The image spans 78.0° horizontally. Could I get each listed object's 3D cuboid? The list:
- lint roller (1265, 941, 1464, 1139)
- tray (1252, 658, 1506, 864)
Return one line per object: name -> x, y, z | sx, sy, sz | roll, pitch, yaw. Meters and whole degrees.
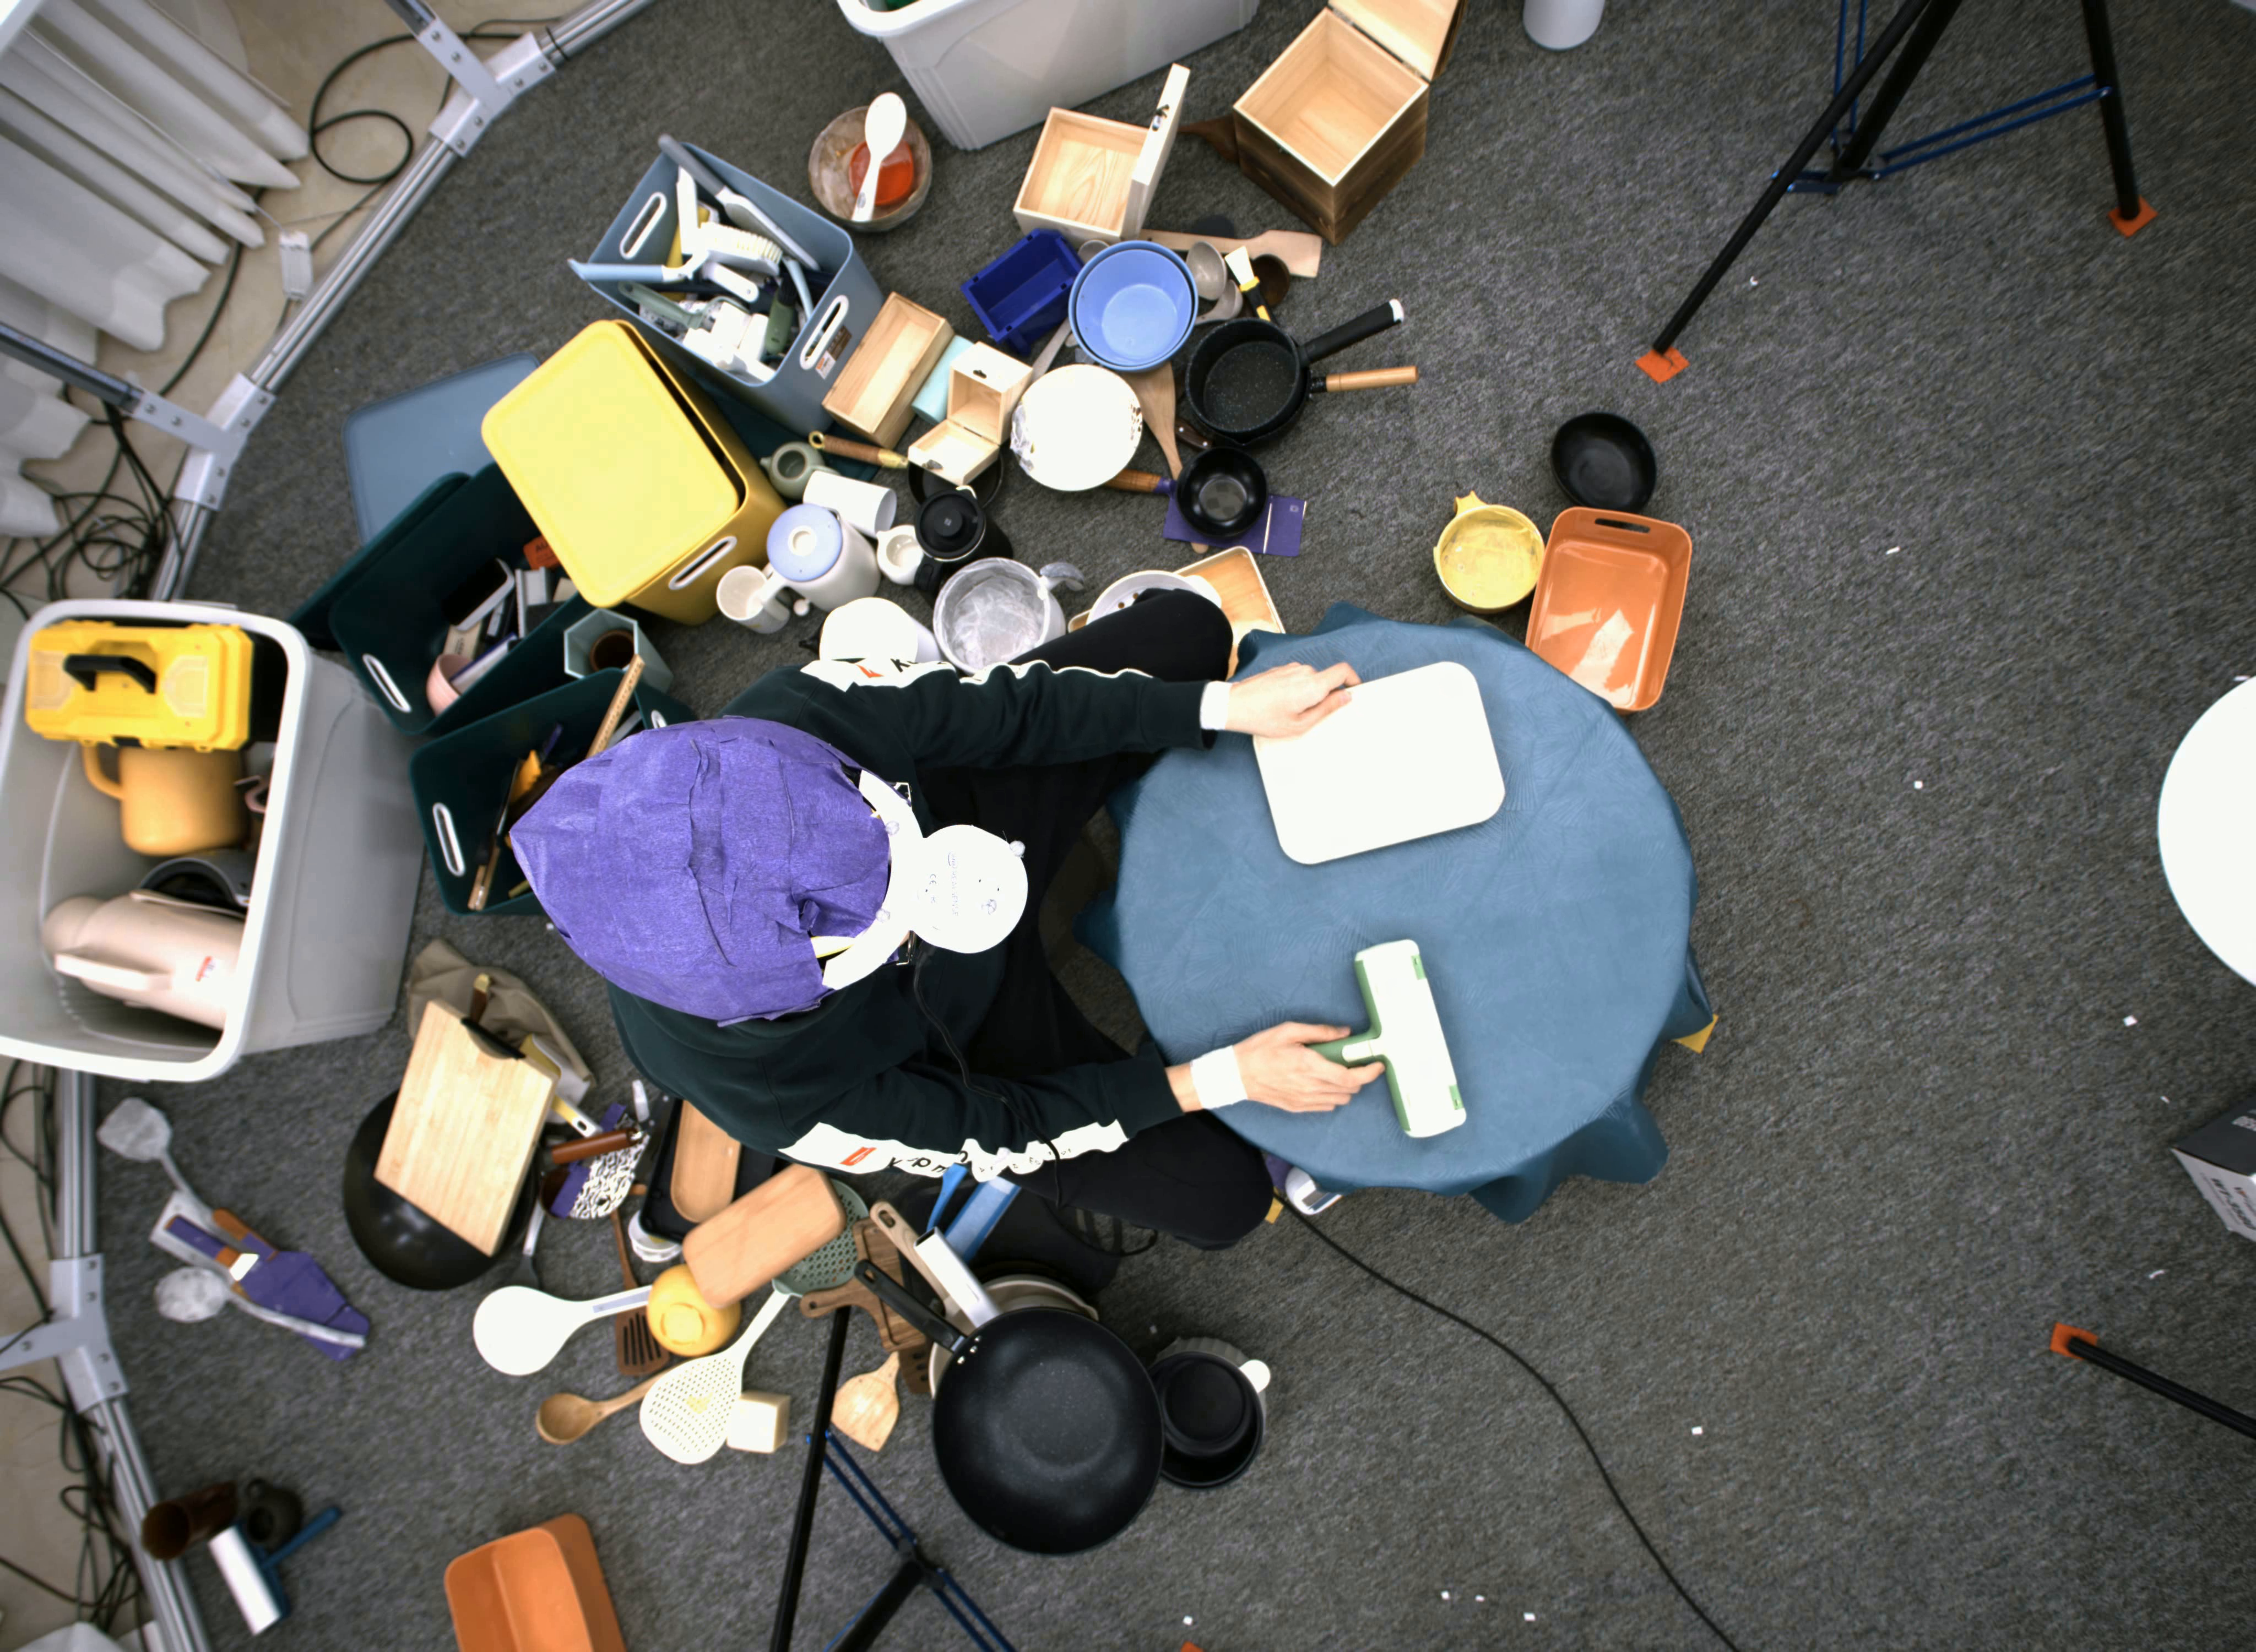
lint roller -> 0.230, 0.231, 1.411 | 0.184, 0.082, 0.198 | -15, 88, 5
tray -> 0.260, -0.068, 1.435 | 0.241, 0.017, 0.171 | -16, 94, 14
